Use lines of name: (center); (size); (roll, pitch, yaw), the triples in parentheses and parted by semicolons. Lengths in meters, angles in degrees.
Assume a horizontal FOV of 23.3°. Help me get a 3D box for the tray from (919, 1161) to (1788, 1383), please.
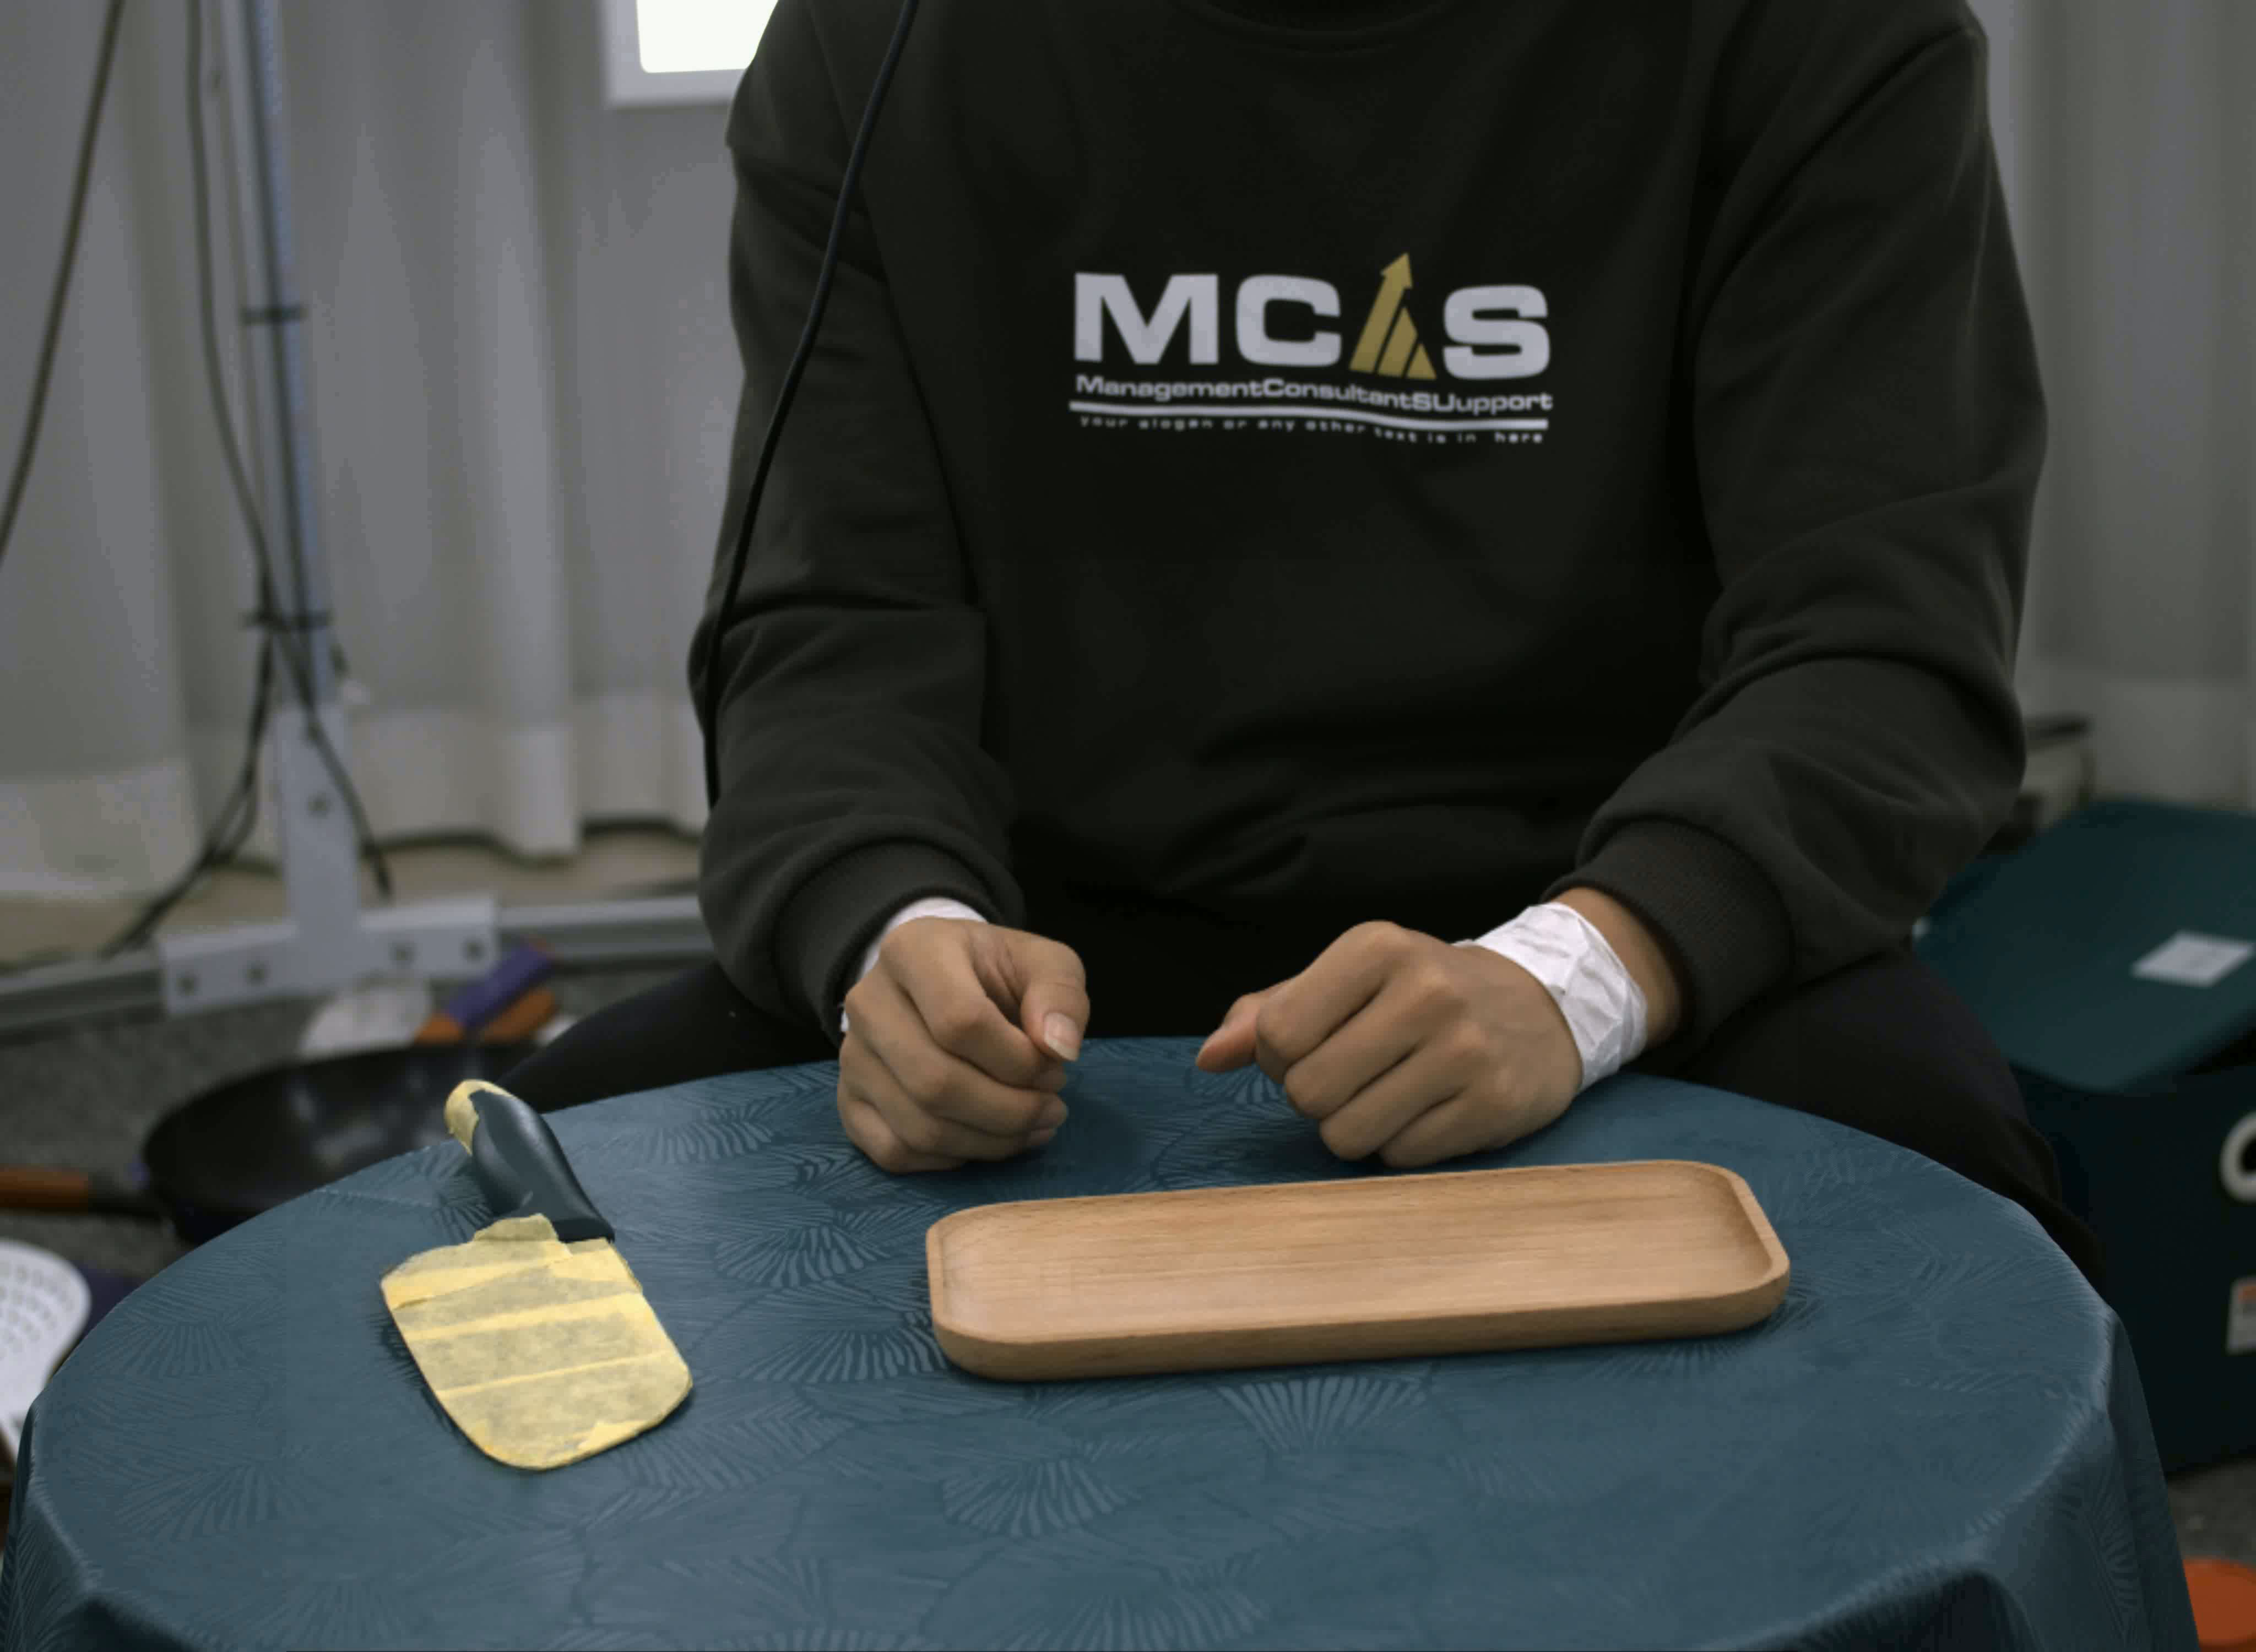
tray: (0.064, 0.131, 1.611); (0.250, 0.023, 0.131); (-4, 12, -3)

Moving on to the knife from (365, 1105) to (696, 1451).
knife: (-0.187, 0.136, 1.645); (0.080, 0.027, 0.292); (-5, 16, -14)
